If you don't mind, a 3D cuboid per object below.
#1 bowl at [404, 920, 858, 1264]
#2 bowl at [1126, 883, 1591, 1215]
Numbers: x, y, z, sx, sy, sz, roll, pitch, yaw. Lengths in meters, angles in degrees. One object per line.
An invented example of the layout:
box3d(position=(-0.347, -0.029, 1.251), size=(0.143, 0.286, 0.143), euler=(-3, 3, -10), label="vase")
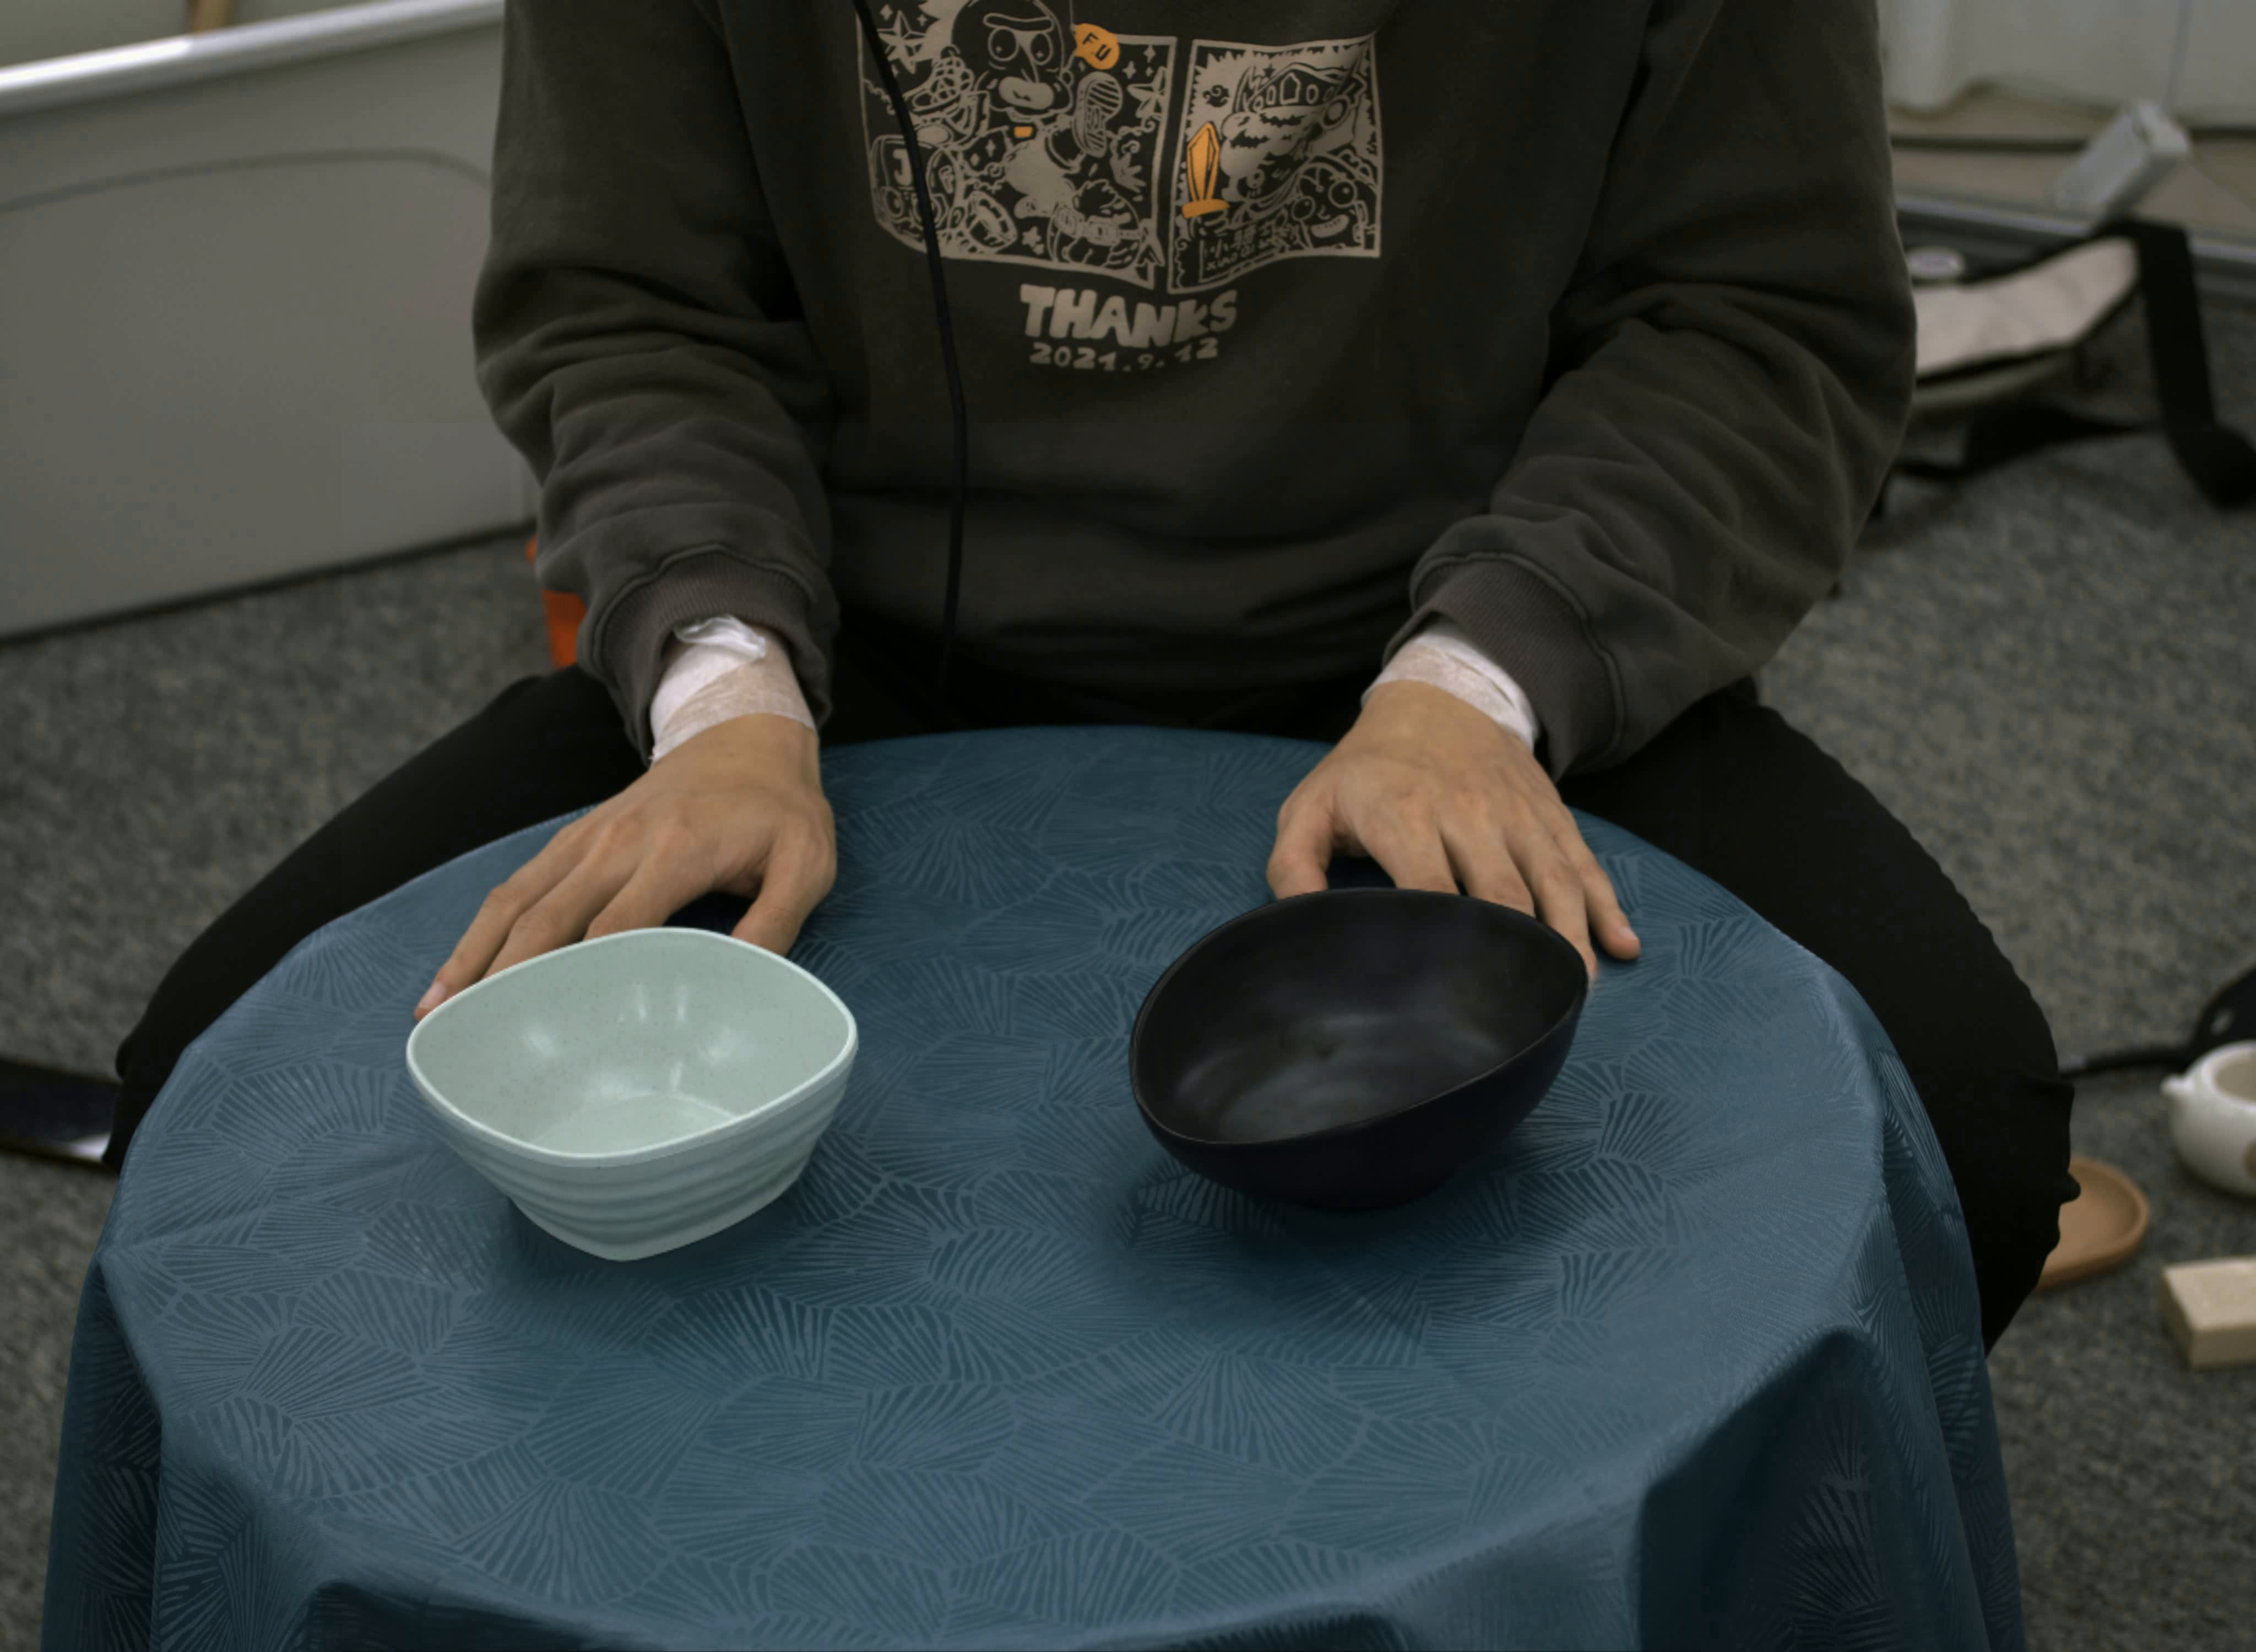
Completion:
box3d(position=(-0.163, 0.095, 1.867), size=(0.151, 0.058, 0.154), euler=(-1, 29, 1), label="bowl")
box3d(position=(0.077, 0.084, 1.858), size=(0.137, 0.066, 0.172), euler=(22, 38, 39), label="bowl")
